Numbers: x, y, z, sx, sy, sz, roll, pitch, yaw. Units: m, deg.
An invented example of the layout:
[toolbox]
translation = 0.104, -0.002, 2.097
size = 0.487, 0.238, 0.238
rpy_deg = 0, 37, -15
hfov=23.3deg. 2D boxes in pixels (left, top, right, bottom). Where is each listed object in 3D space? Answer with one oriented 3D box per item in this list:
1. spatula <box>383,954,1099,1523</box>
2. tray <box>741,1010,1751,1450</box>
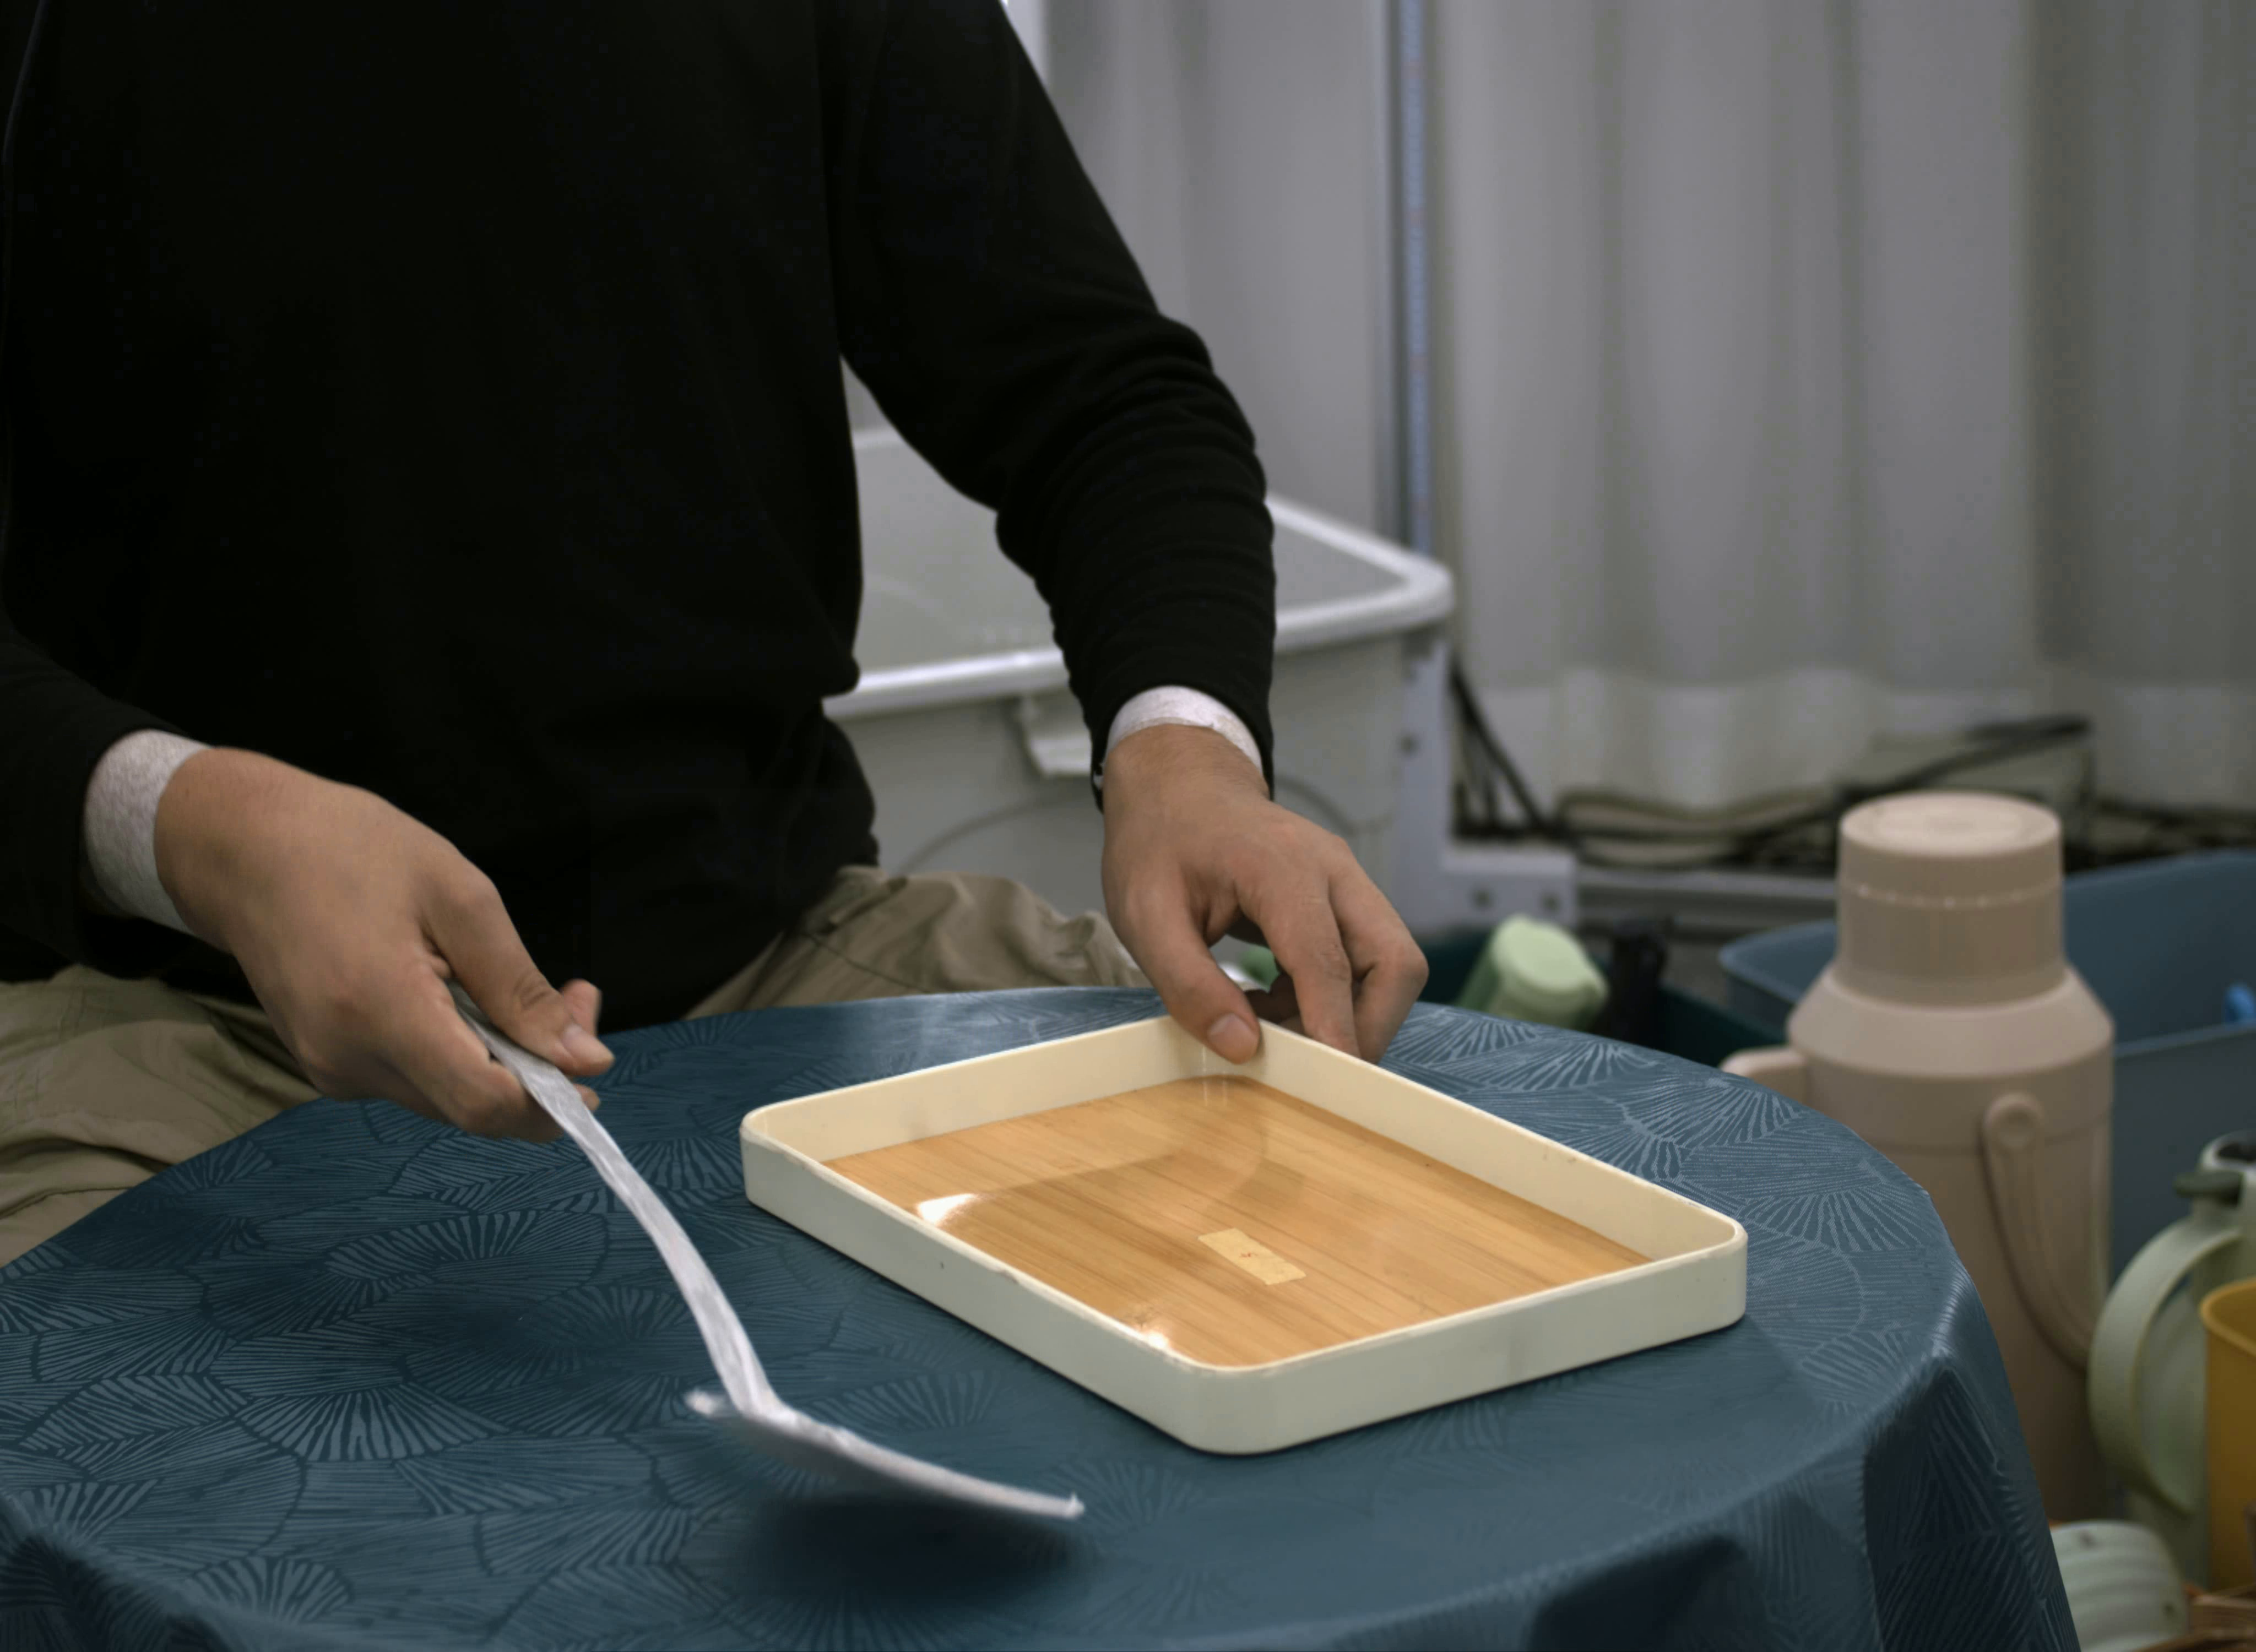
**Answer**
[spatula]
translation = -0.131, 0.106, 1.532
size = 0.098, 0.044, 0.369
rpy_deg = 17, 18, -39
[tray]
translation = 0.029, 0.117, 1.649
size = 0.191, 0.027, 0.302
rpy_deg = -11, 17, -29
